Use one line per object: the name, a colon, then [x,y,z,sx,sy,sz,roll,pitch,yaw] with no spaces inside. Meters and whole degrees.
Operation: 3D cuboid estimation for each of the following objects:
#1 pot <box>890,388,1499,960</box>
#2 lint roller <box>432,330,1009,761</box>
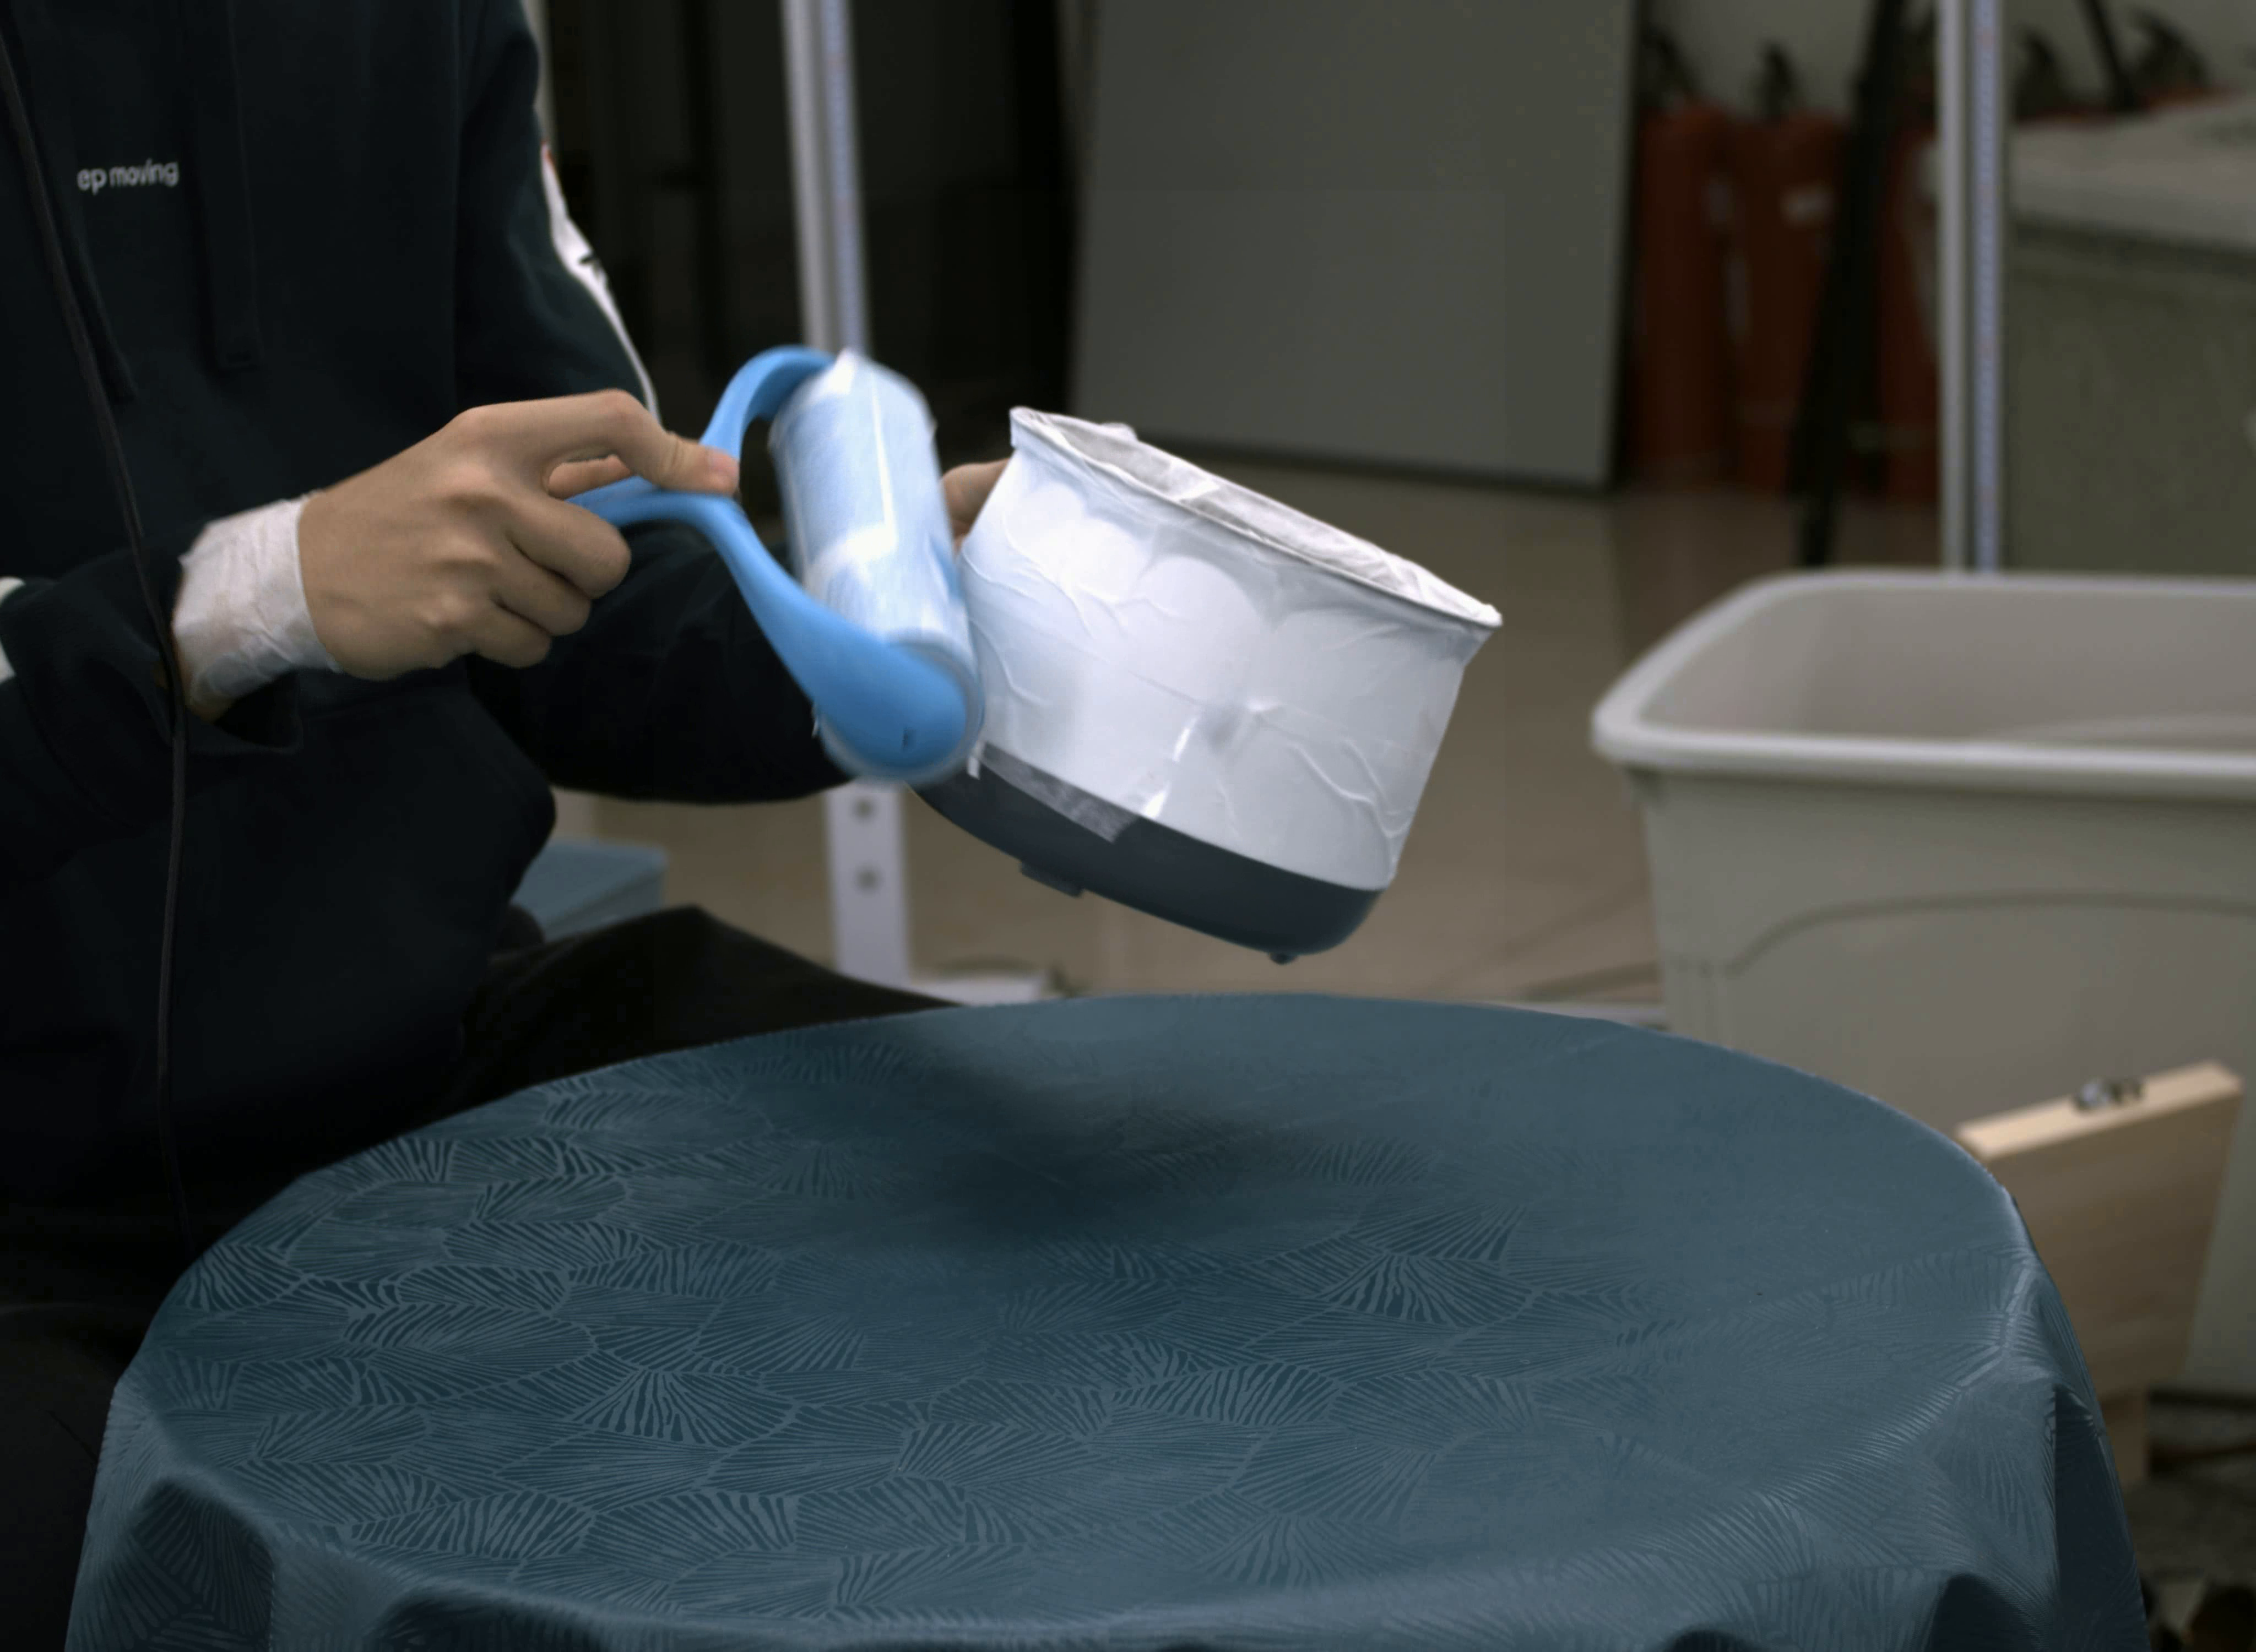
pot: [0.004,-0.057,1.798,0.175,0.138,0.236,19,9,-32]
lint roller: [-0.135,-0.087,1.735,0.177,0.068,0.231,-5,32,-9]
